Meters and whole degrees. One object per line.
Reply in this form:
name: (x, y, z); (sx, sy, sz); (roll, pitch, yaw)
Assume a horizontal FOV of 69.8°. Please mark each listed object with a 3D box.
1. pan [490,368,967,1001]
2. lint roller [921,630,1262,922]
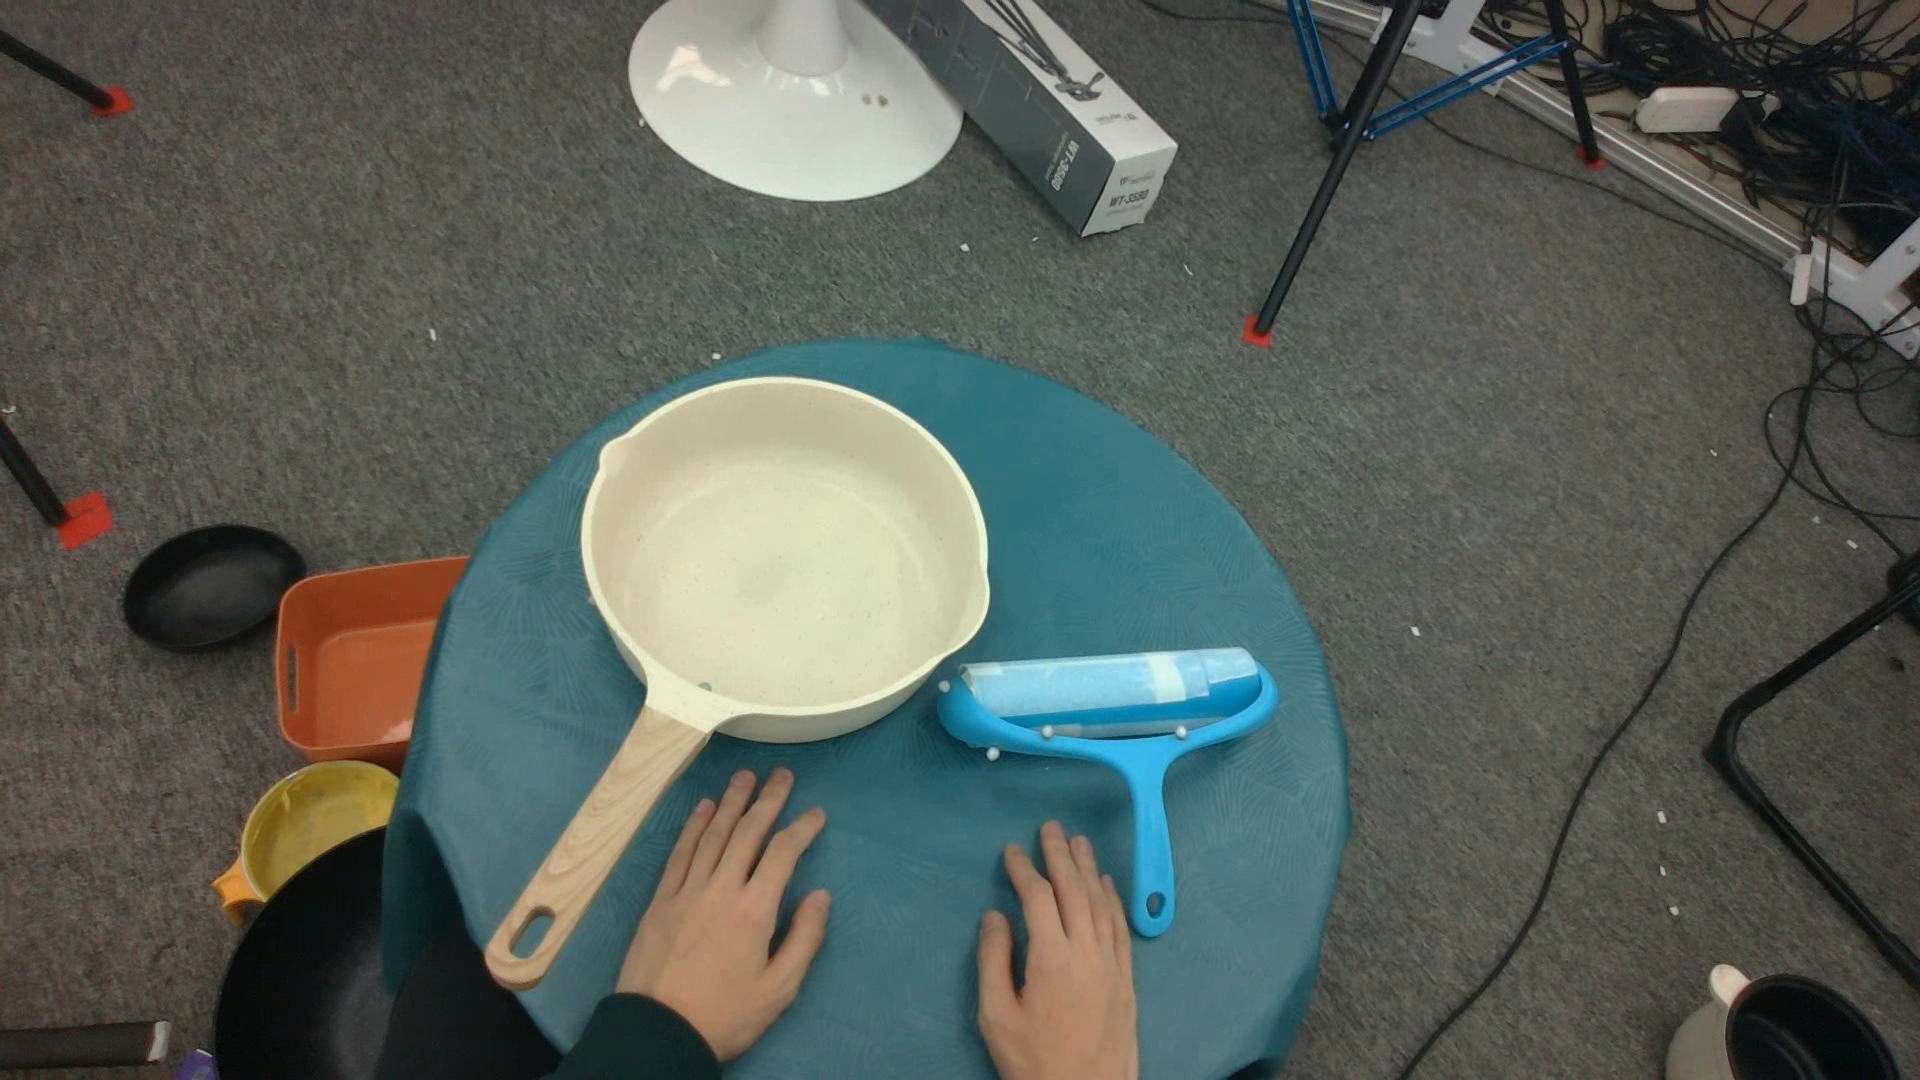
pan: (-0.157, 0.078, 0.828); (0.263, 0.101, 0.437); (23, 55, 2)
lint roller: (0.101, 0.143, 0.868); (0.229, 0.067, 0.181); (-5, 57, -18)
